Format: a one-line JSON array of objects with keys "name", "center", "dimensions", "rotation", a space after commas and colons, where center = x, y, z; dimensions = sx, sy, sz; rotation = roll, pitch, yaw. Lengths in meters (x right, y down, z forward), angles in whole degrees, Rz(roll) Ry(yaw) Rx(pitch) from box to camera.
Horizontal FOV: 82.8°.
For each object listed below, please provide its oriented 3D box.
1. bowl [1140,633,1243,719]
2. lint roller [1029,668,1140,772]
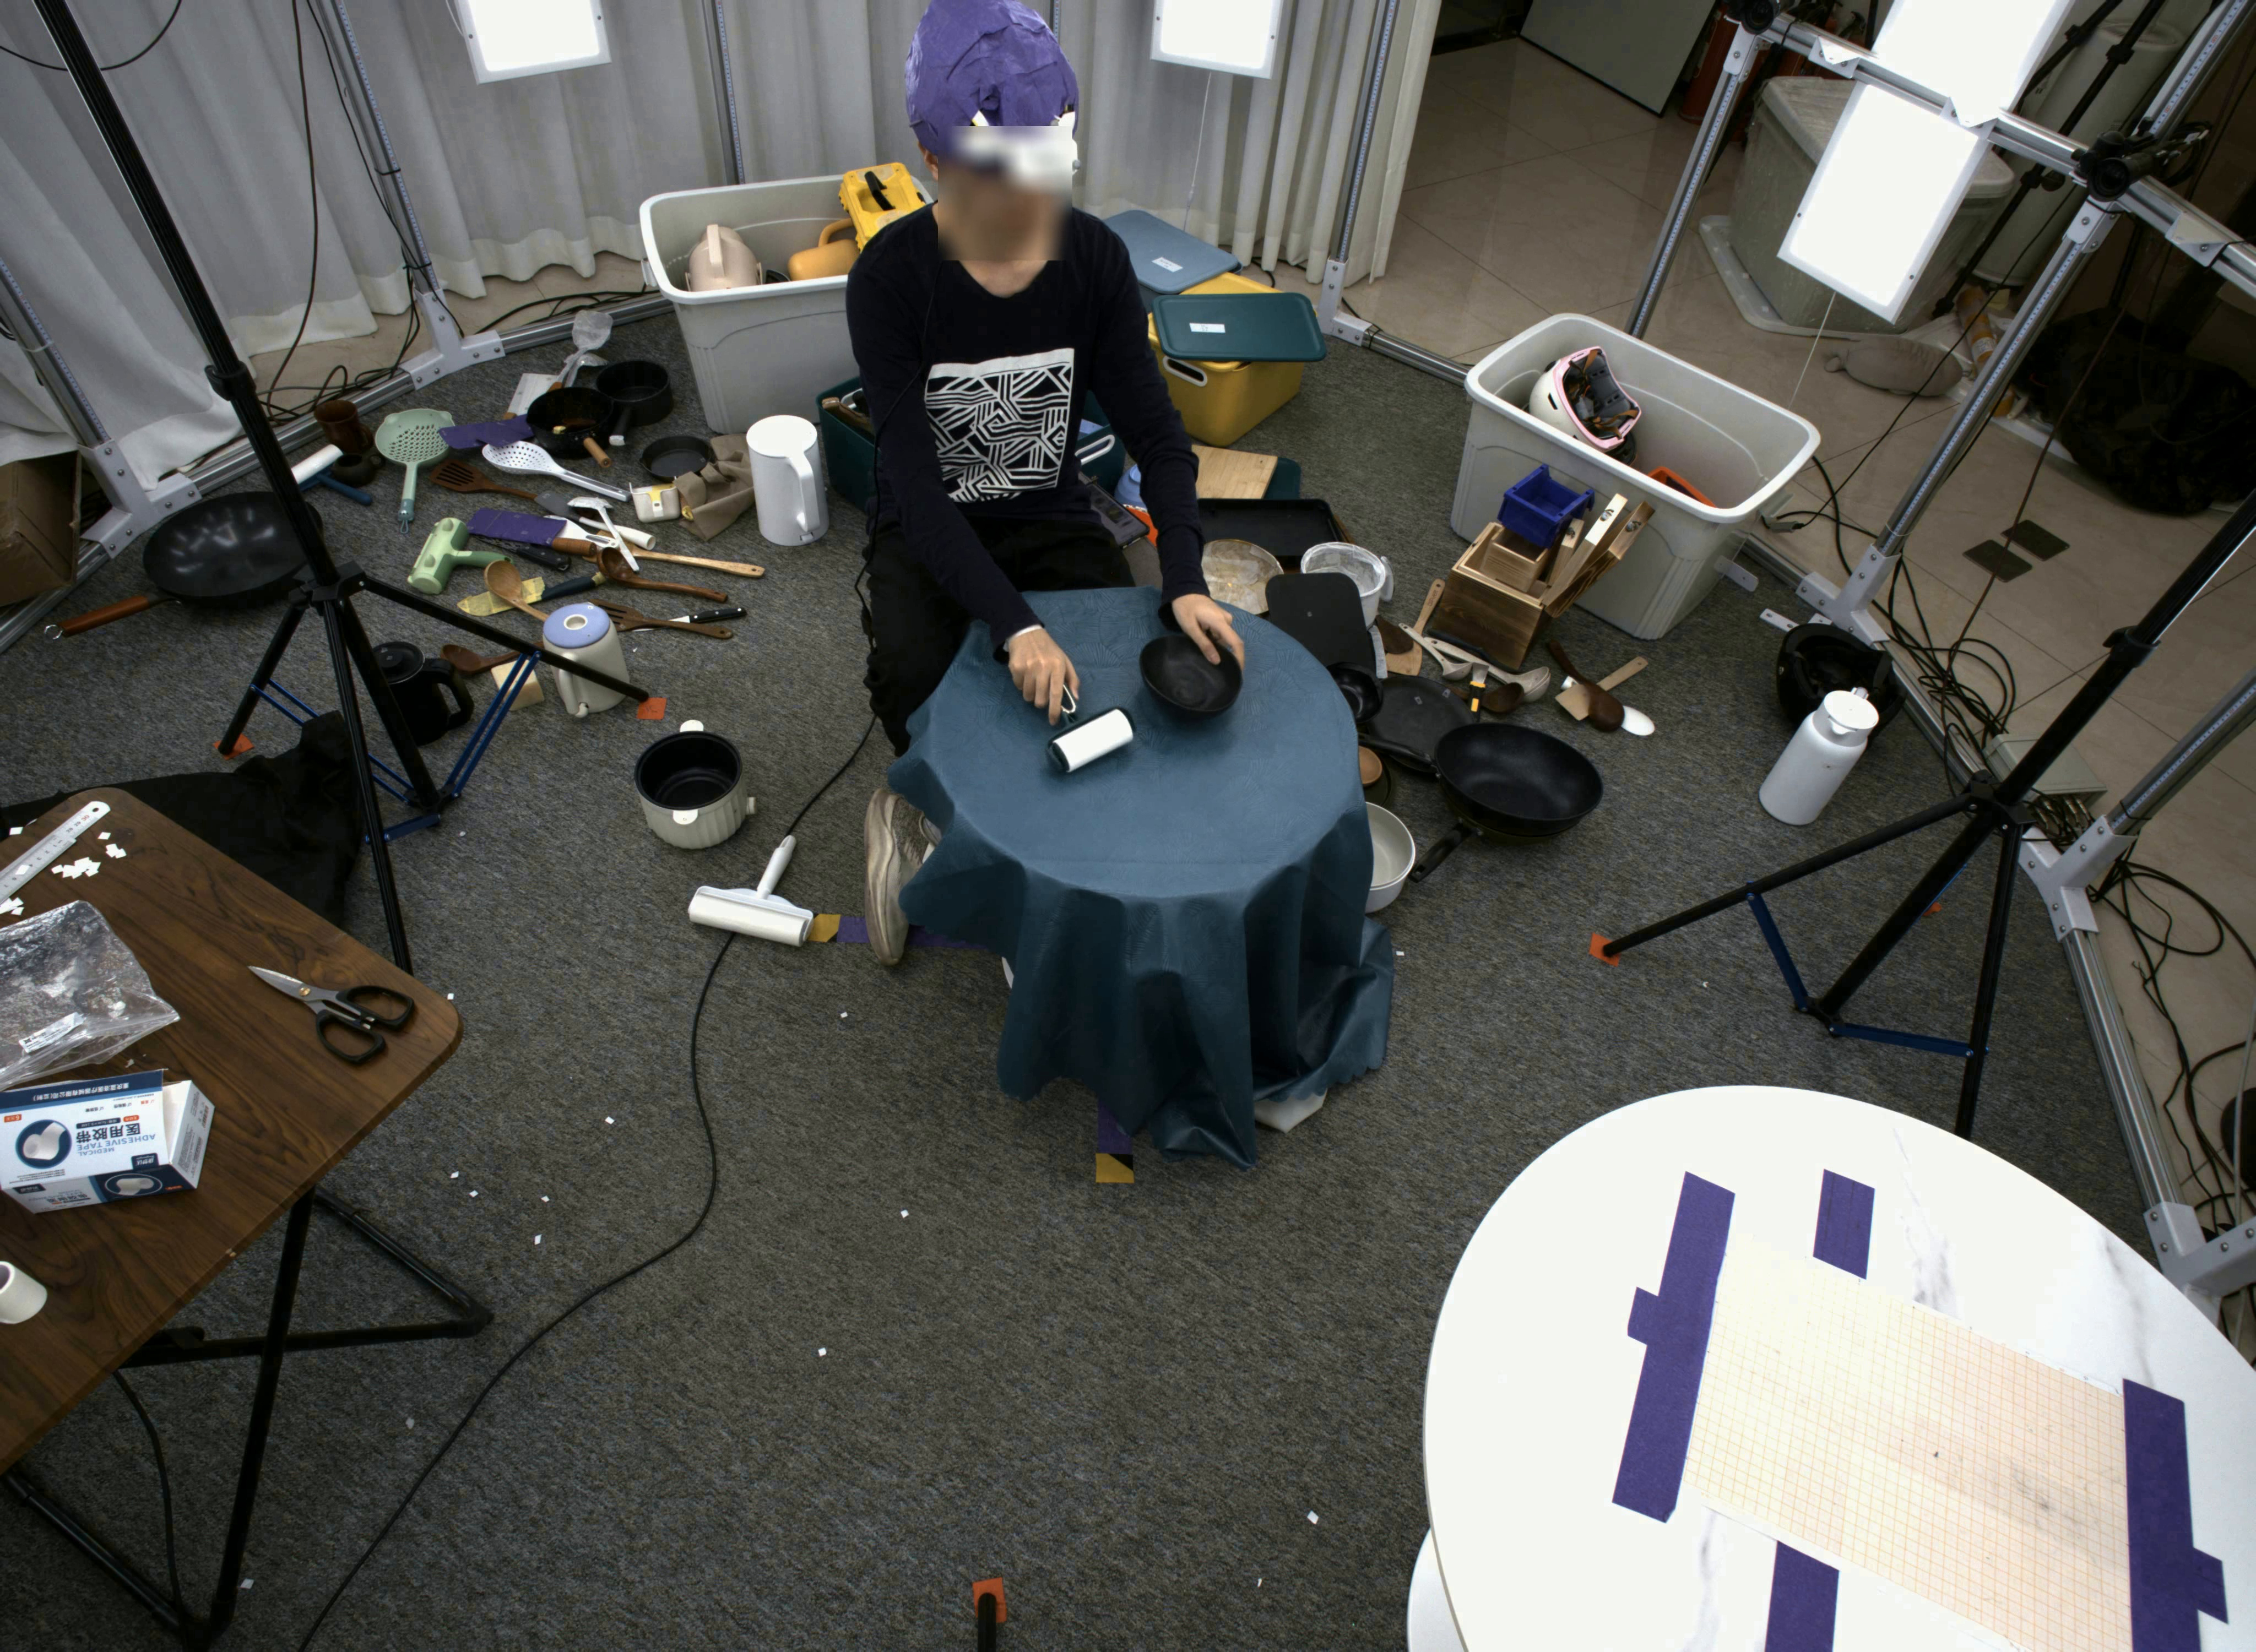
[{"name": "bowl", "center": [0.085, -0.202, 1.807], "dimensions": [0.137, 0.065, 0.174], "rotation": [-18, 51, -18]}, {"name": "lint roller", "center": [-0.085, -0.165, 1.753], "dimensions": [0.135, 0.047, 0.183], "rotation": [-29, 63, -14]}]
